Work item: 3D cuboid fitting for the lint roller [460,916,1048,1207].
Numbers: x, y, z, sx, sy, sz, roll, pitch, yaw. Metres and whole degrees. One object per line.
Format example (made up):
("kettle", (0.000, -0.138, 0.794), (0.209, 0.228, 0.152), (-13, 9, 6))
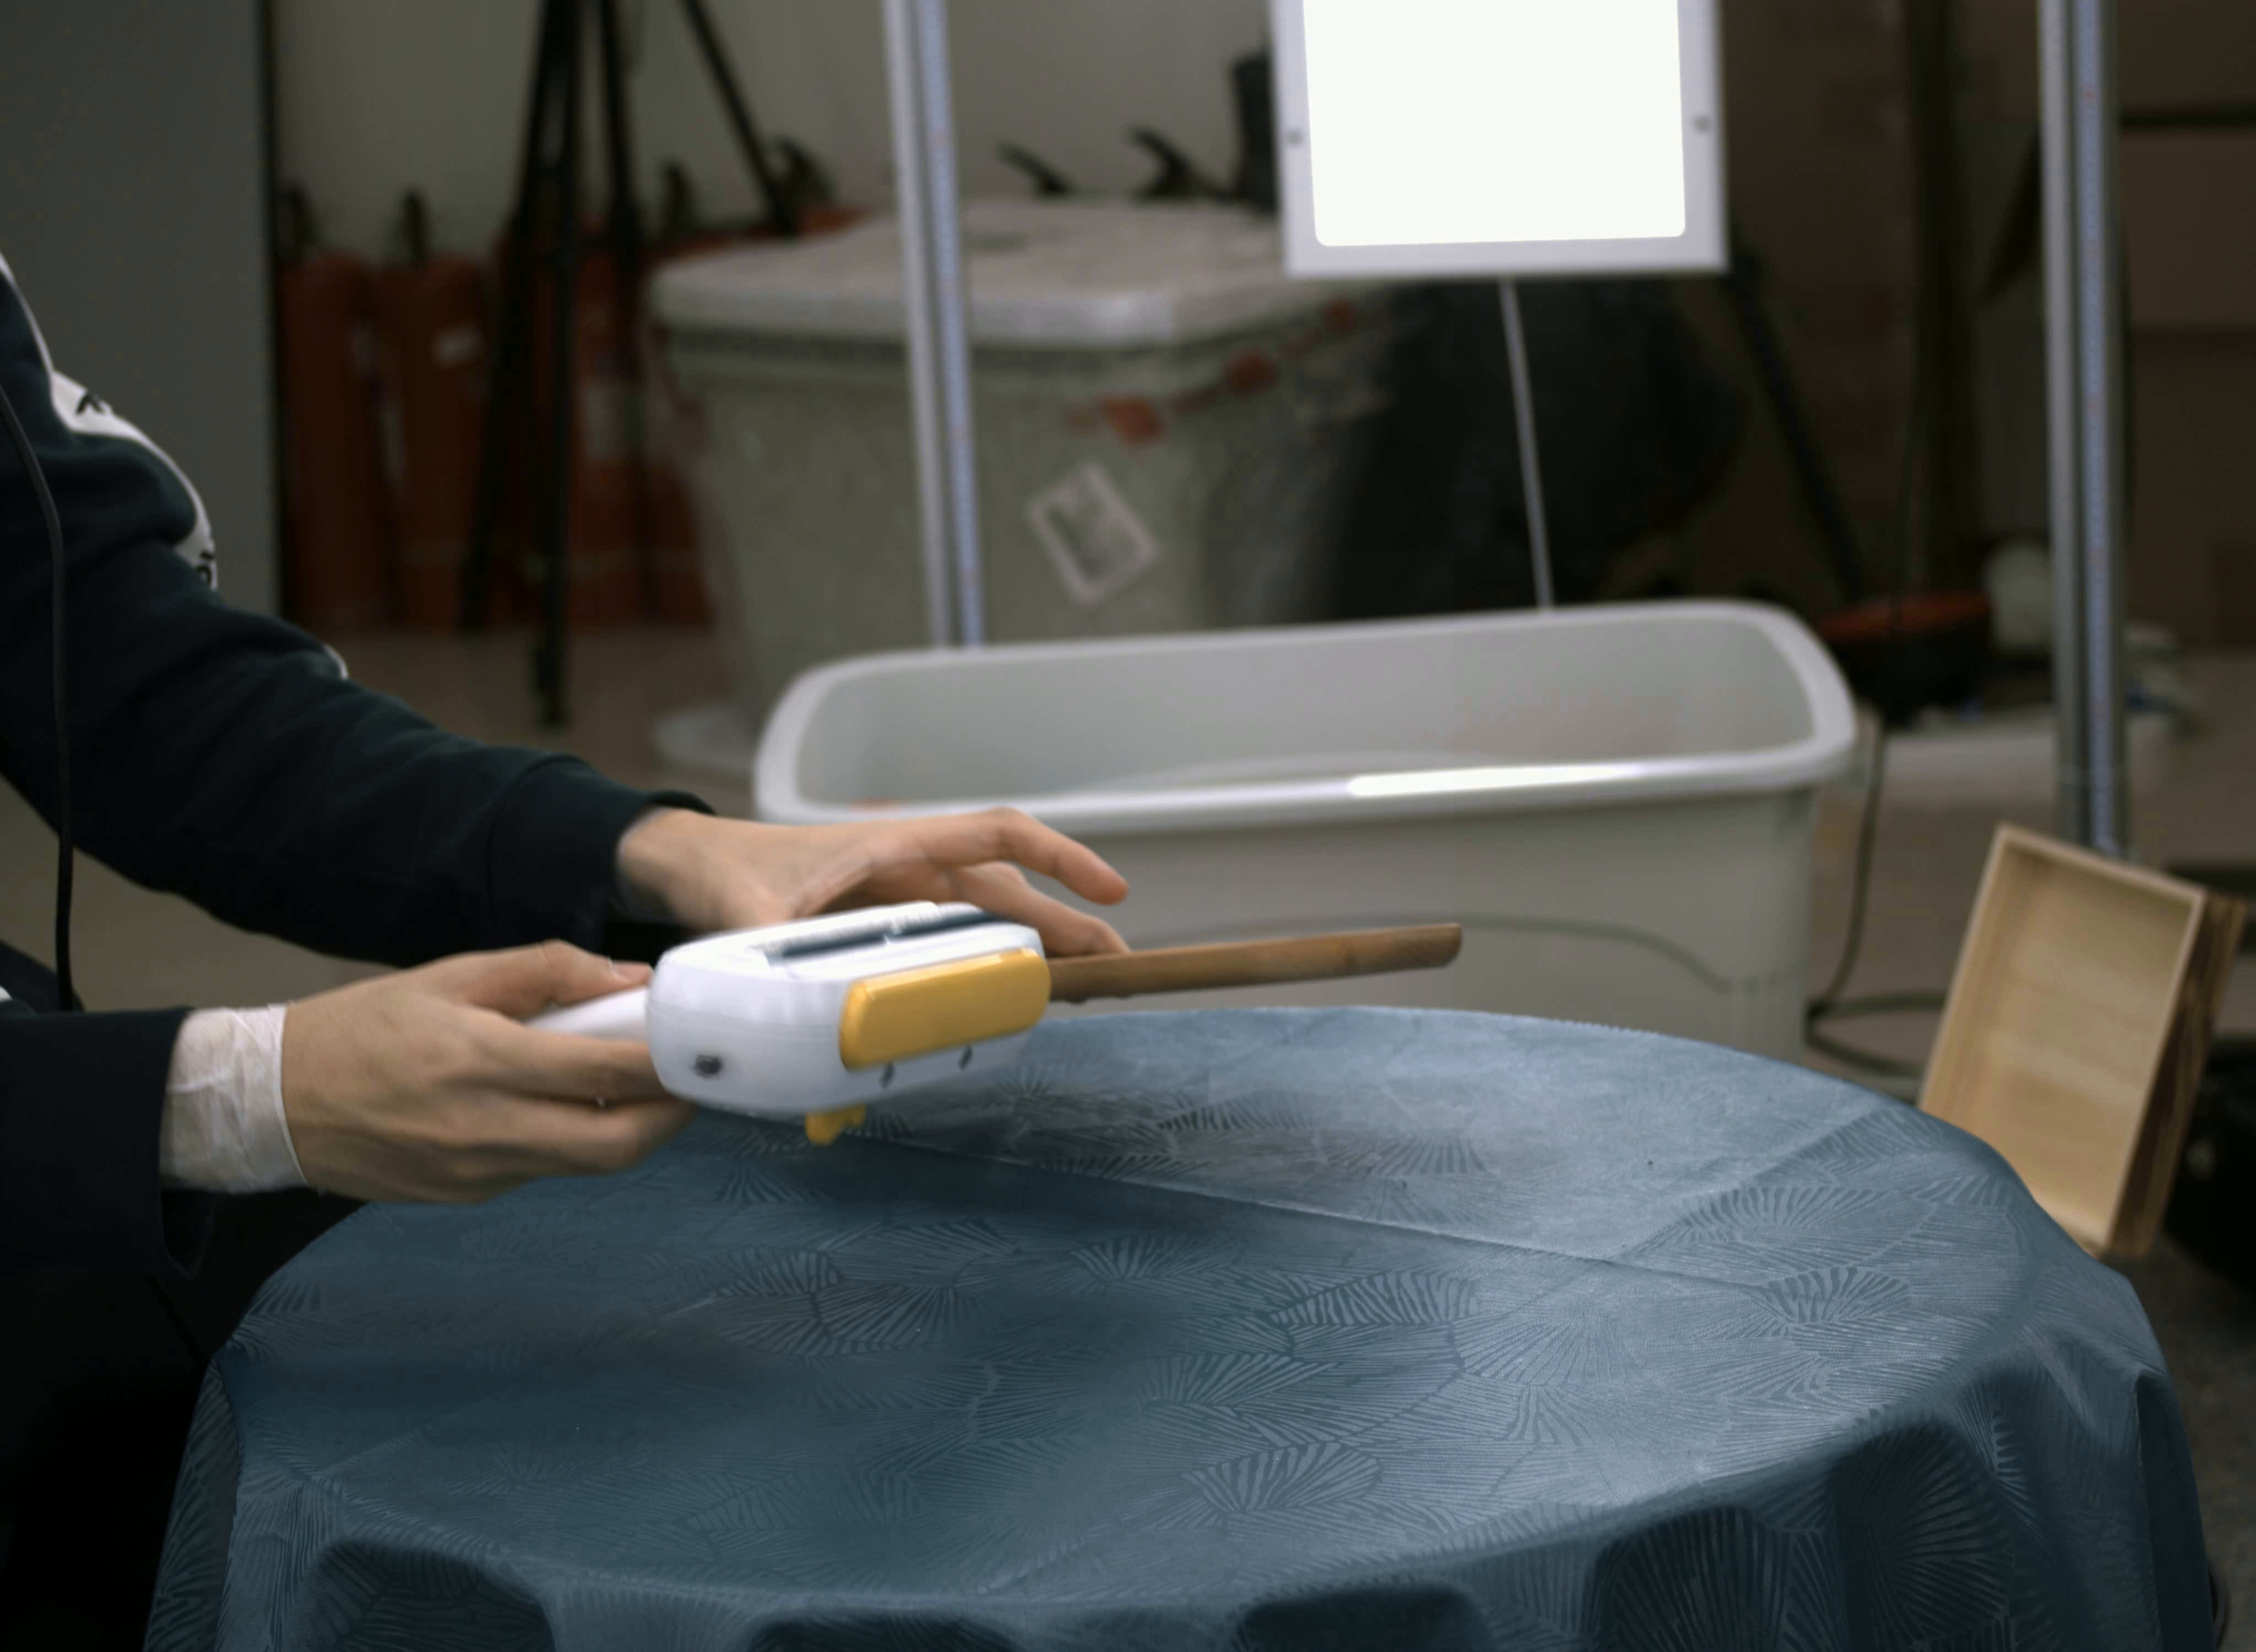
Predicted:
("lint roller", (-0.140, 0.078, 1.773), (0.196, 0.074, 0.188), (-14, -2, 32))

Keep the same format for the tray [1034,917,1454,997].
("tray", (-0.014, 0.050, 1.932), (0.256, 0.023, 0.127), (-7, -5, 33))
